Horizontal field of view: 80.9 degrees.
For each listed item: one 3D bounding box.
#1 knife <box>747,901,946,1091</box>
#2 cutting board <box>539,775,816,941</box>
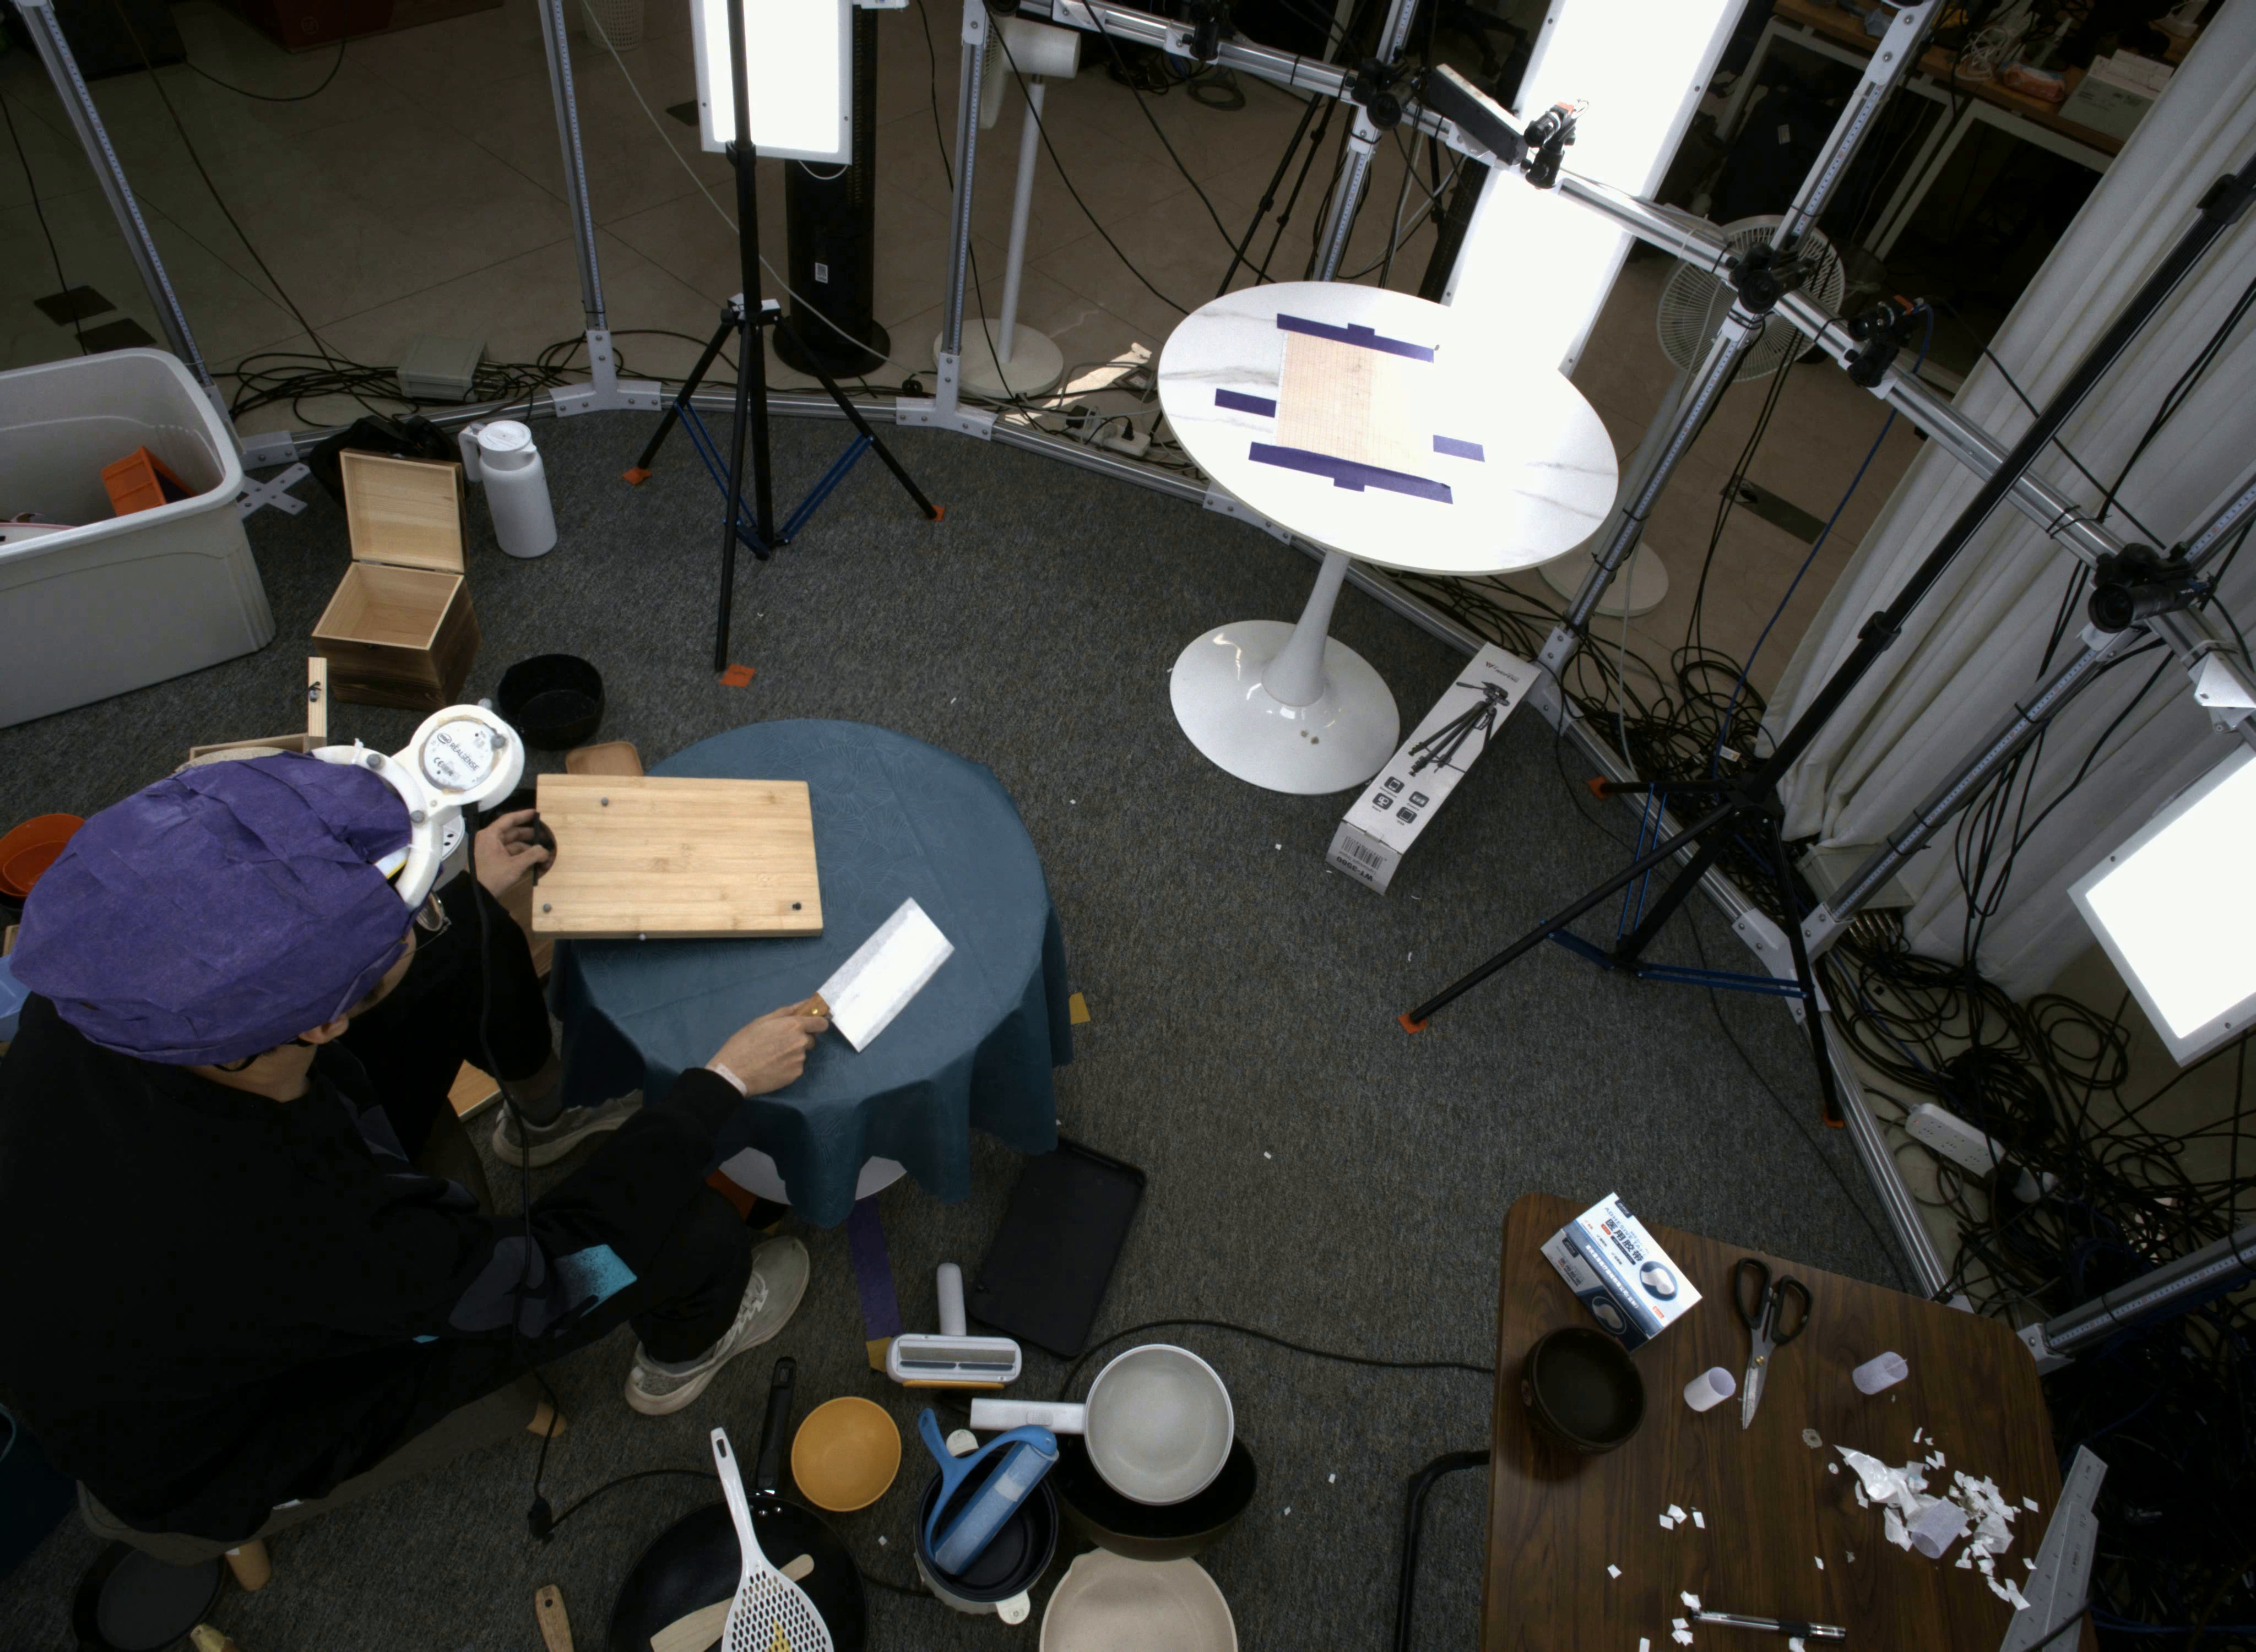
[{"bbox_3d":[-0.324,0.212,1.546,0.095,0.020,0.305,53,51,-15],"label":"knife"},{"bbox_3d":[-0.569,0.035,1.603,0.352,0.024,0.245,1,53,-26],"label":"cutting board"}]
